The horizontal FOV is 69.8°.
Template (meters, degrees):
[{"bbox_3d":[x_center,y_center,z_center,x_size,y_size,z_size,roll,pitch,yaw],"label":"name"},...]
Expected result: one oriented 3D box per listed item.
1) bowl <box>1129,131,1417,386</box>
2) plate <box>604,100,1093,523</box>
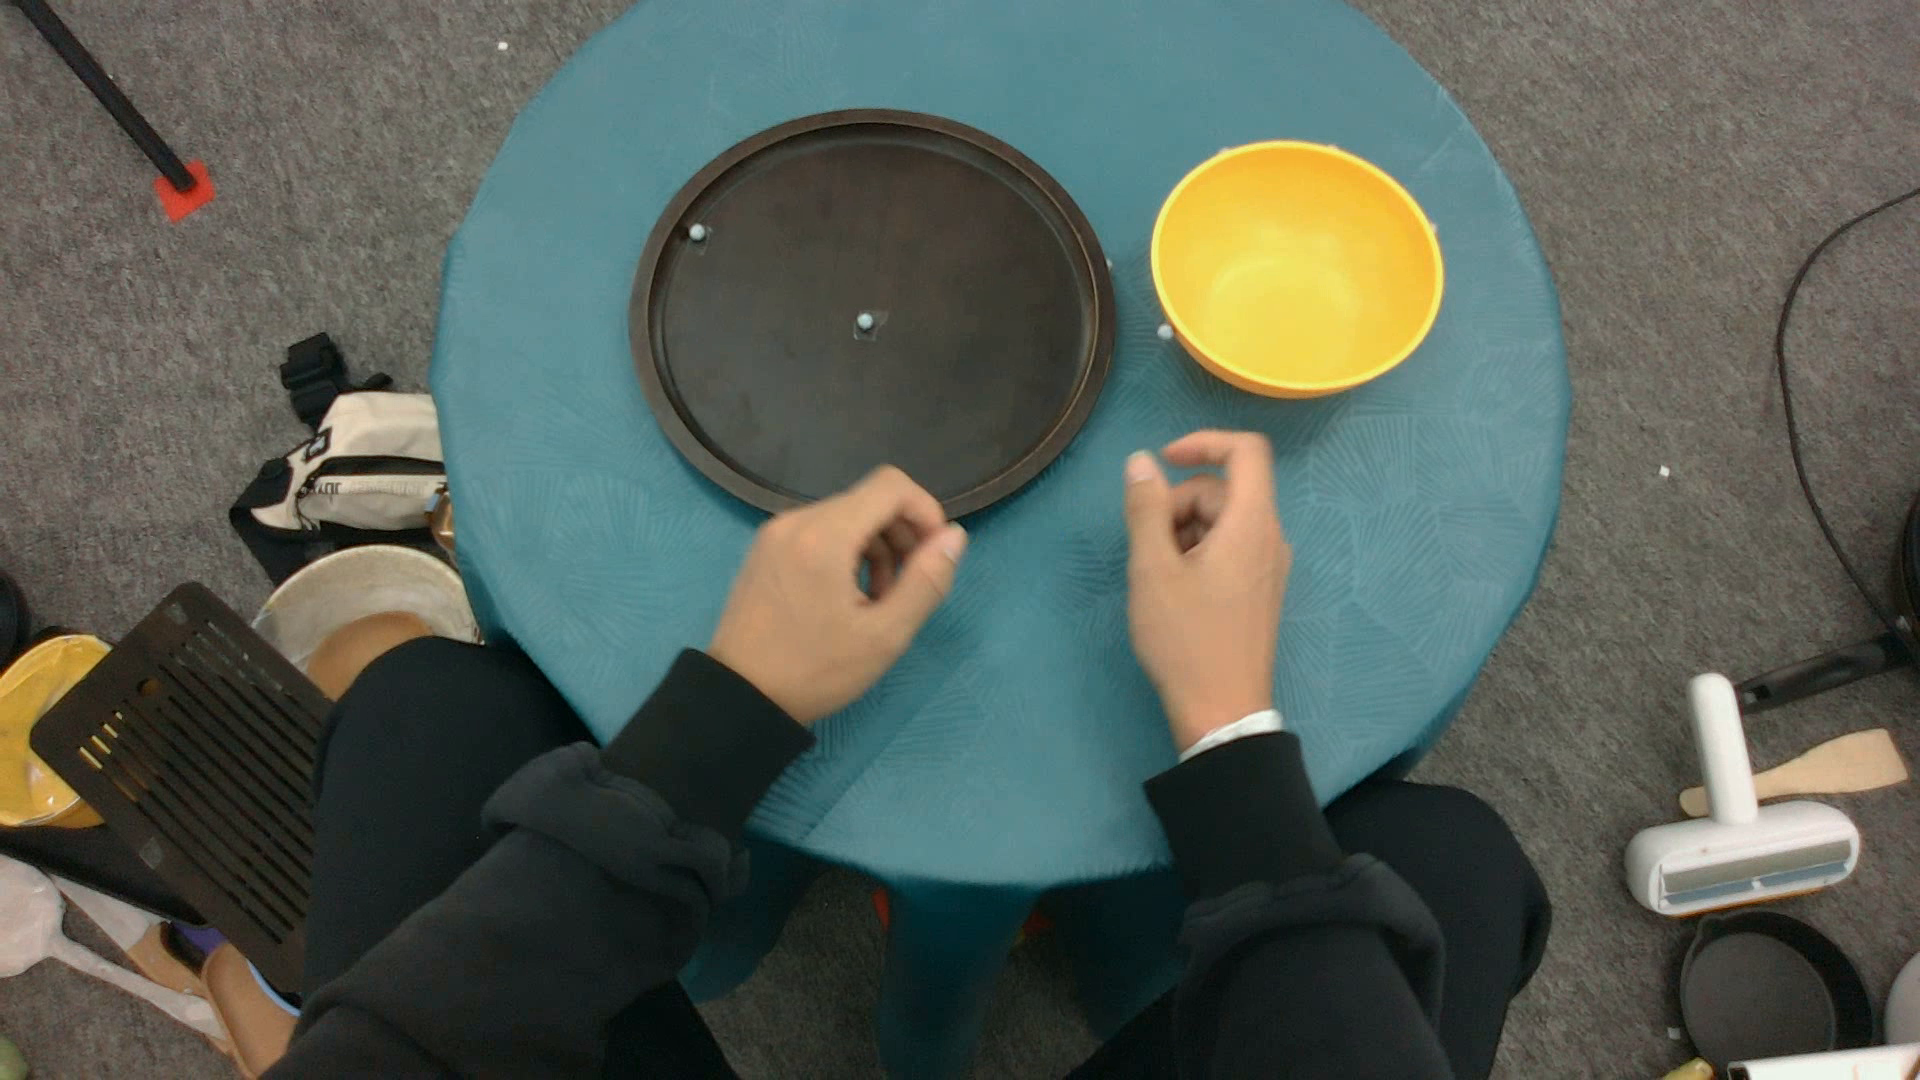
[{"bbox_3d":[0.157,-0.137,0.719,0.145,0.060,0.146,0,70,-1],"label":"bowl"},{"bbox_3d":[-0.057,-0.124,0.721,0.255,0.029,0.255,2,69,-4],"label":"plate"}]
